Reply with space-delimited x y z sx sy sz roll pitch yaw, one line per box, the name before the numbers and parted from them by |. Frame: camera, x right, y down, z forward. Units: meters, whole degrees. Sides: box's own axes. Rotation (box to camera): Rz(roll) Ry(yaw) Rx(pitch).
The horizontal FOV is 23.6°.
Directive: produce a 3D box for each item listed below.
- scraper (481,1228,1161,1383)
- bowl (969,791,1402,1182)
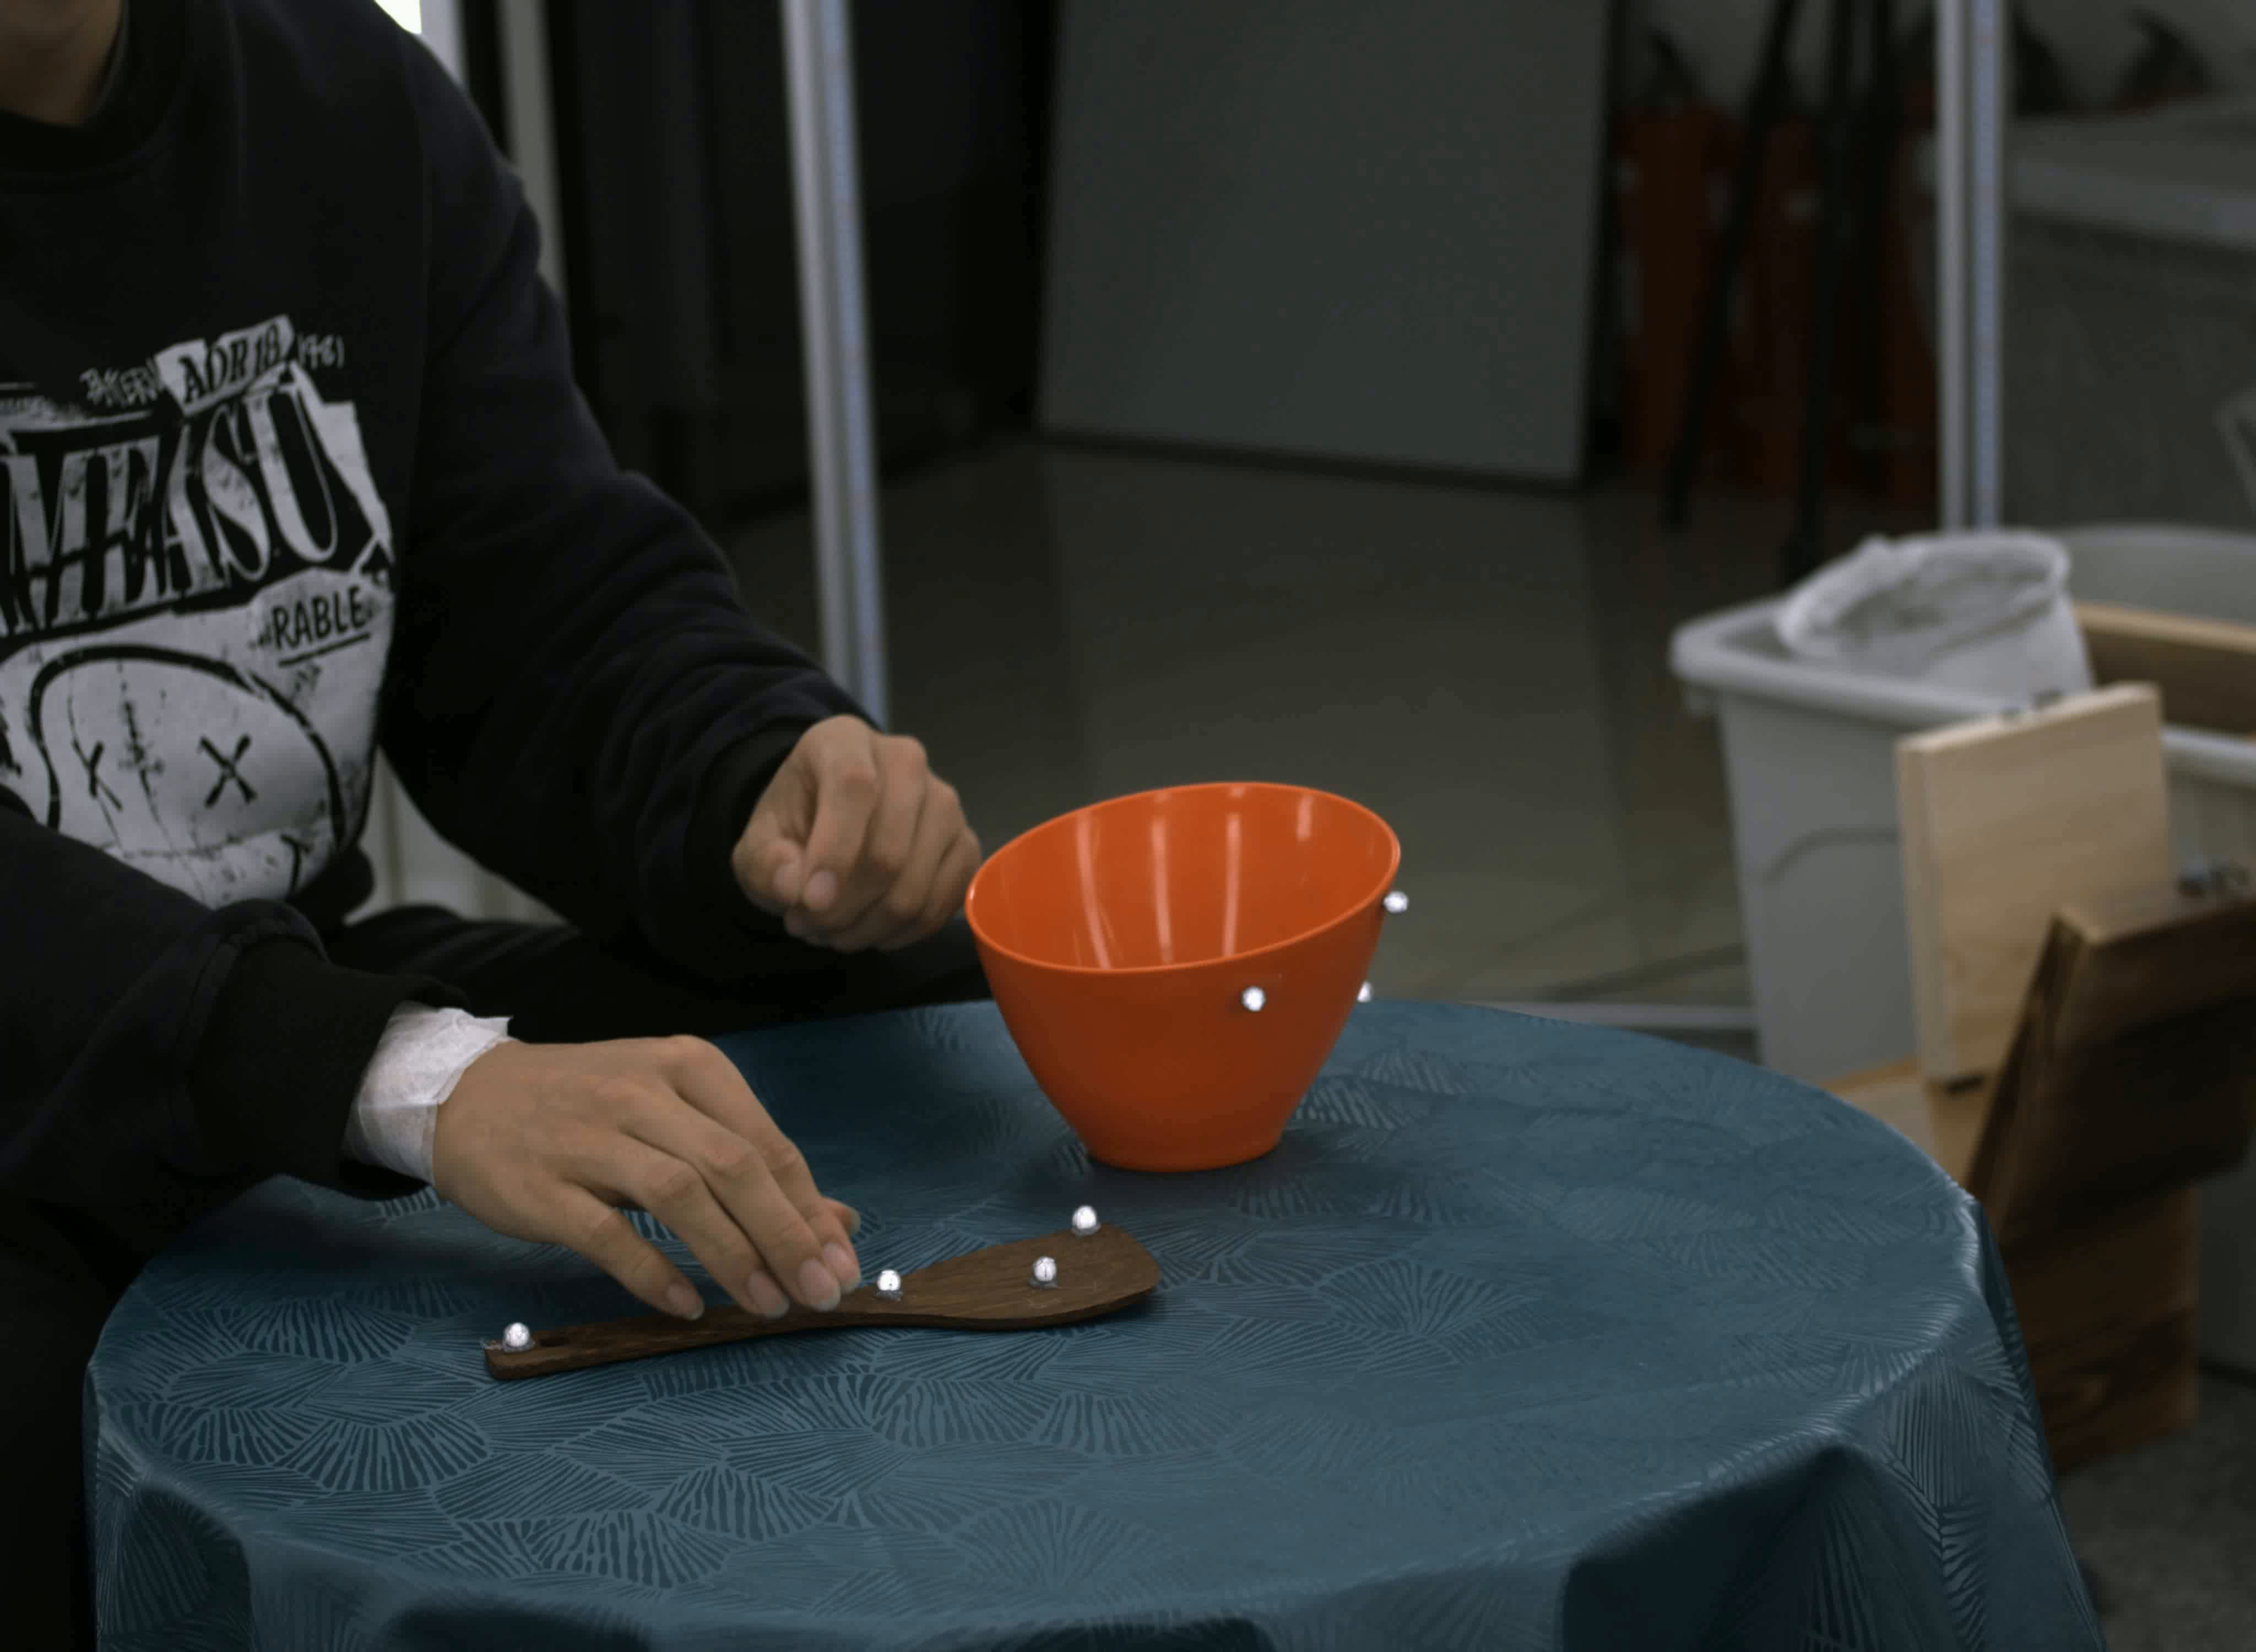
scraper | -0.094 0.151 1.662 0.207 0.011 0.076 -8 13 -11
bowl | 0.021 0.057 1.813 0.146 0.106 0.148 -4 14 0
